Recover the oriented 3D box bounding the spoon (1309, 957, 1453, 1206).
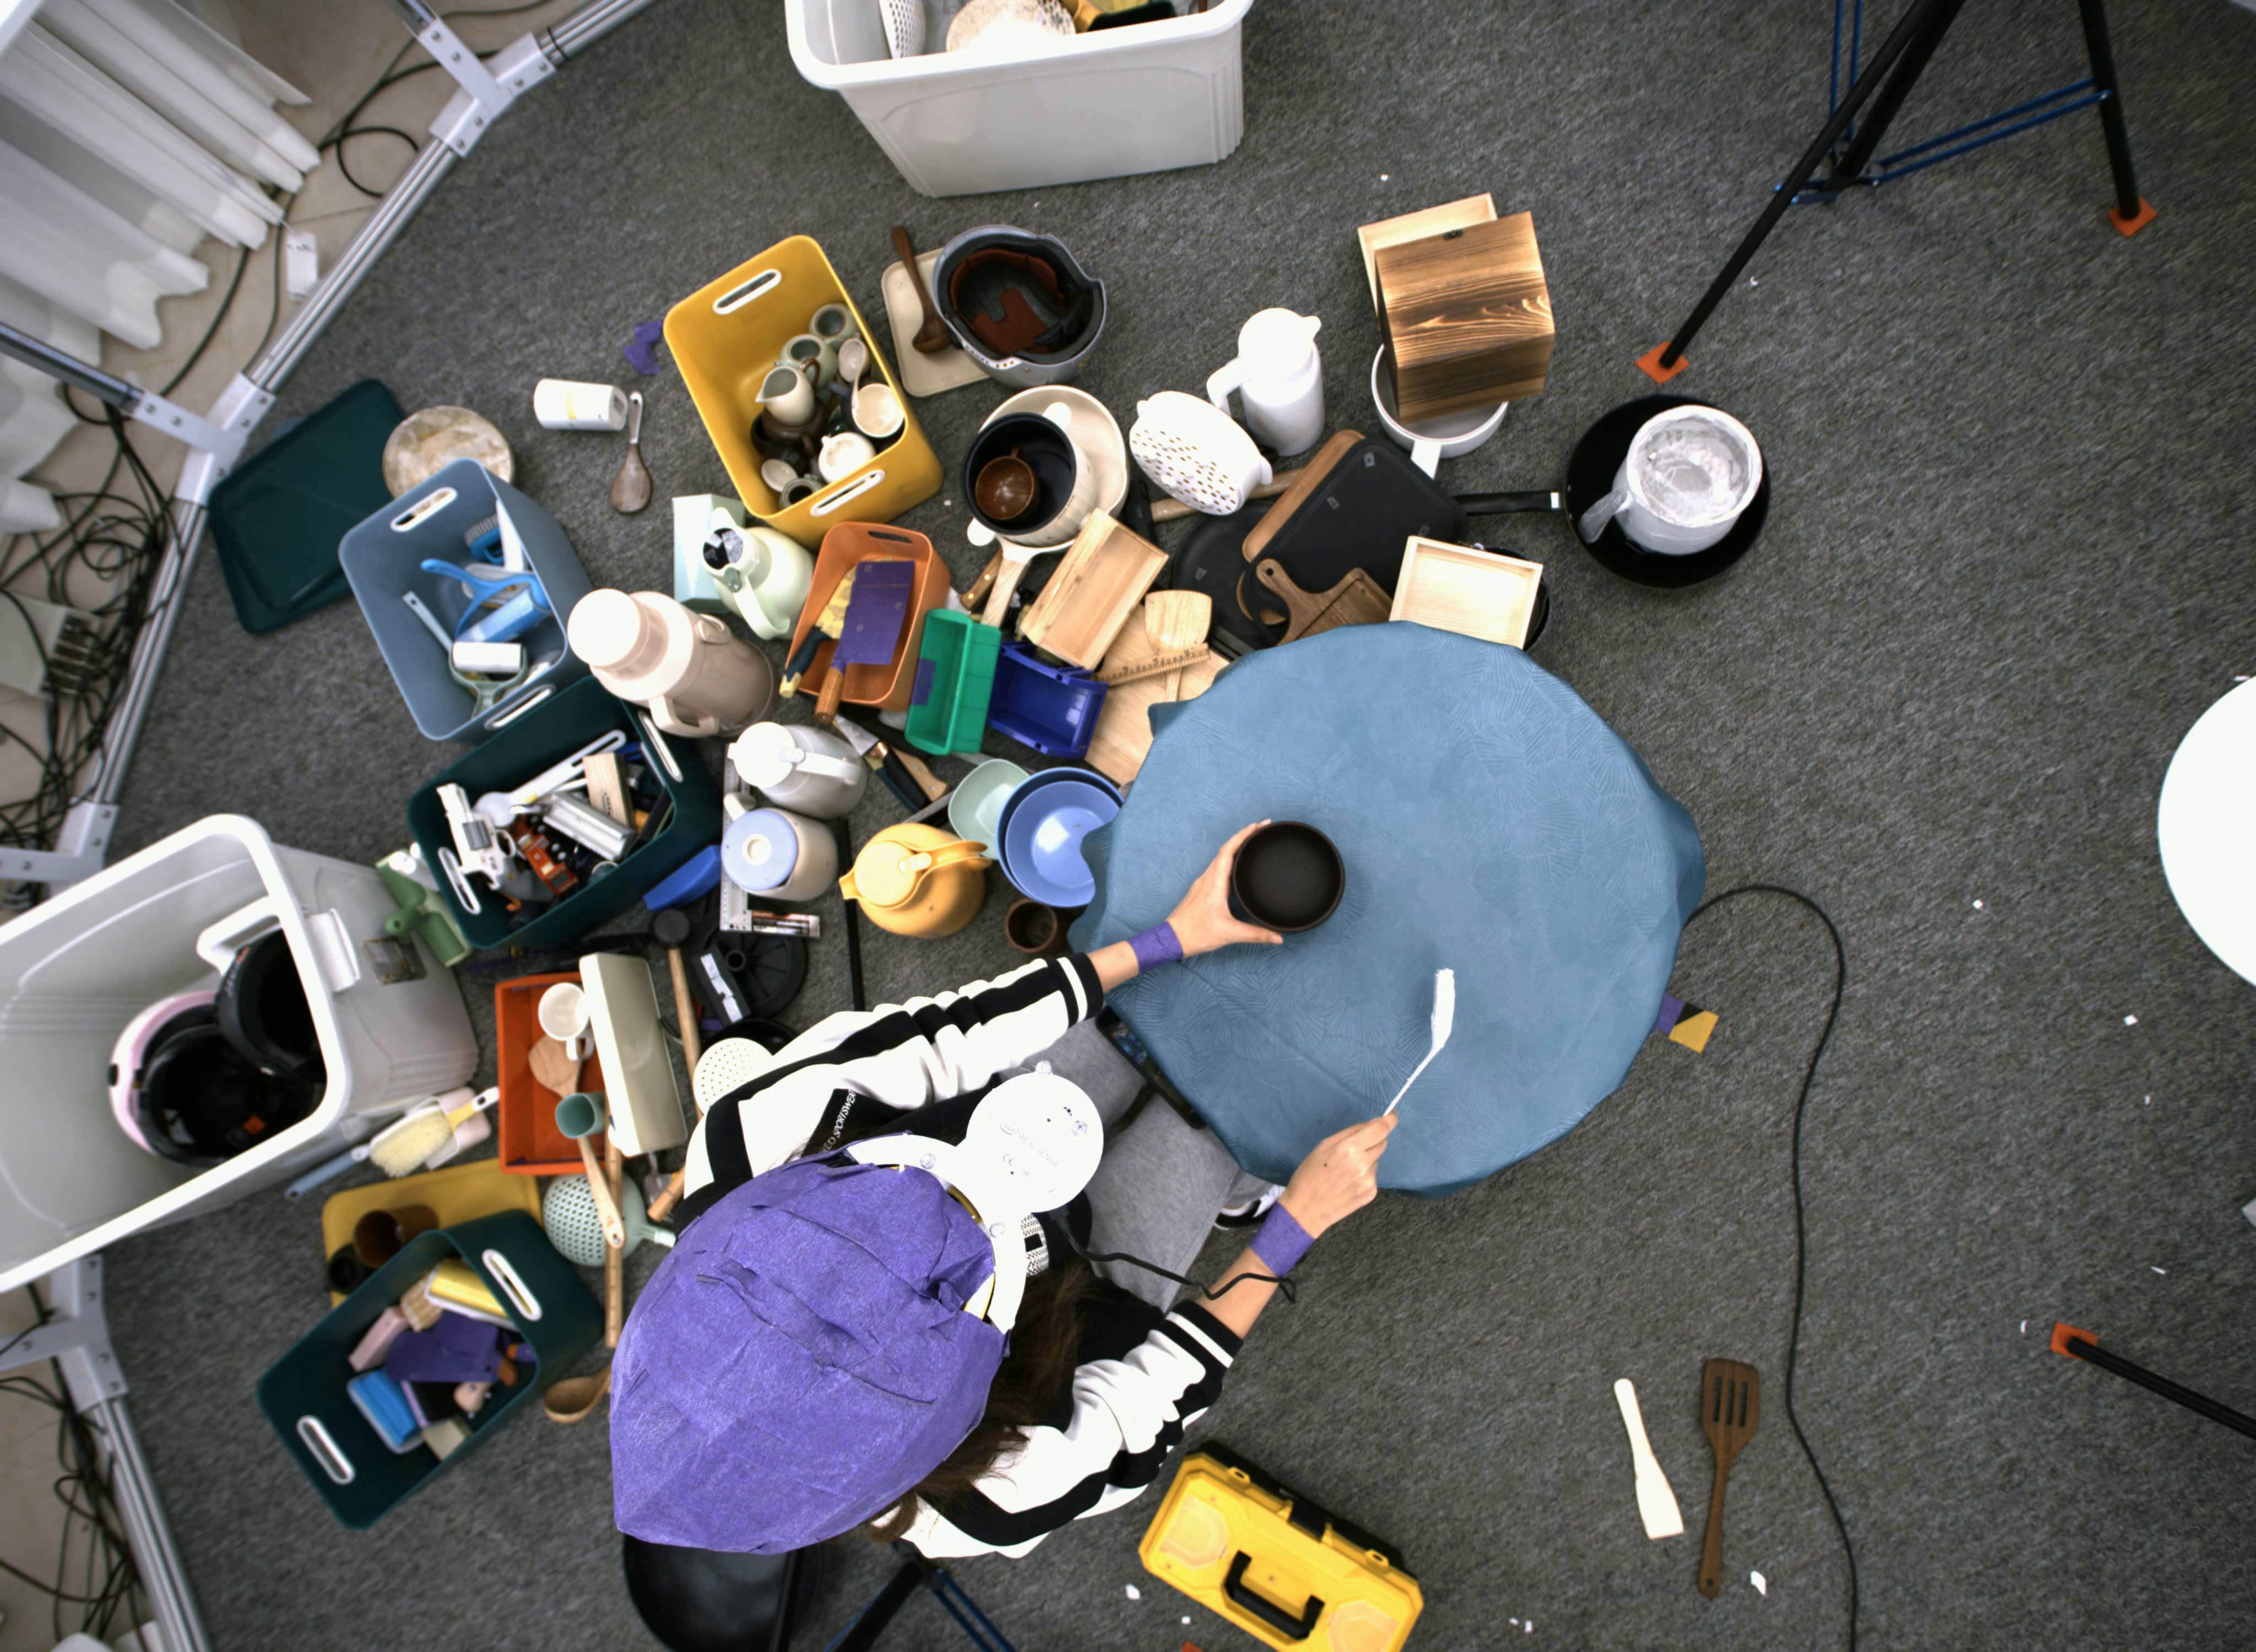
[{"bbox_3d":[0.248,0.256,1.390,0.059,0.100,0.279,39,99,15],"label":"spoon"}]

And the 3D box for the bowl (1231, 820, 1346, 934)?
[{"bbox_3d":[0.168,0.054,1.443,0.118,0.070,0.117,-1,86,10],"label":"bowl"}]
